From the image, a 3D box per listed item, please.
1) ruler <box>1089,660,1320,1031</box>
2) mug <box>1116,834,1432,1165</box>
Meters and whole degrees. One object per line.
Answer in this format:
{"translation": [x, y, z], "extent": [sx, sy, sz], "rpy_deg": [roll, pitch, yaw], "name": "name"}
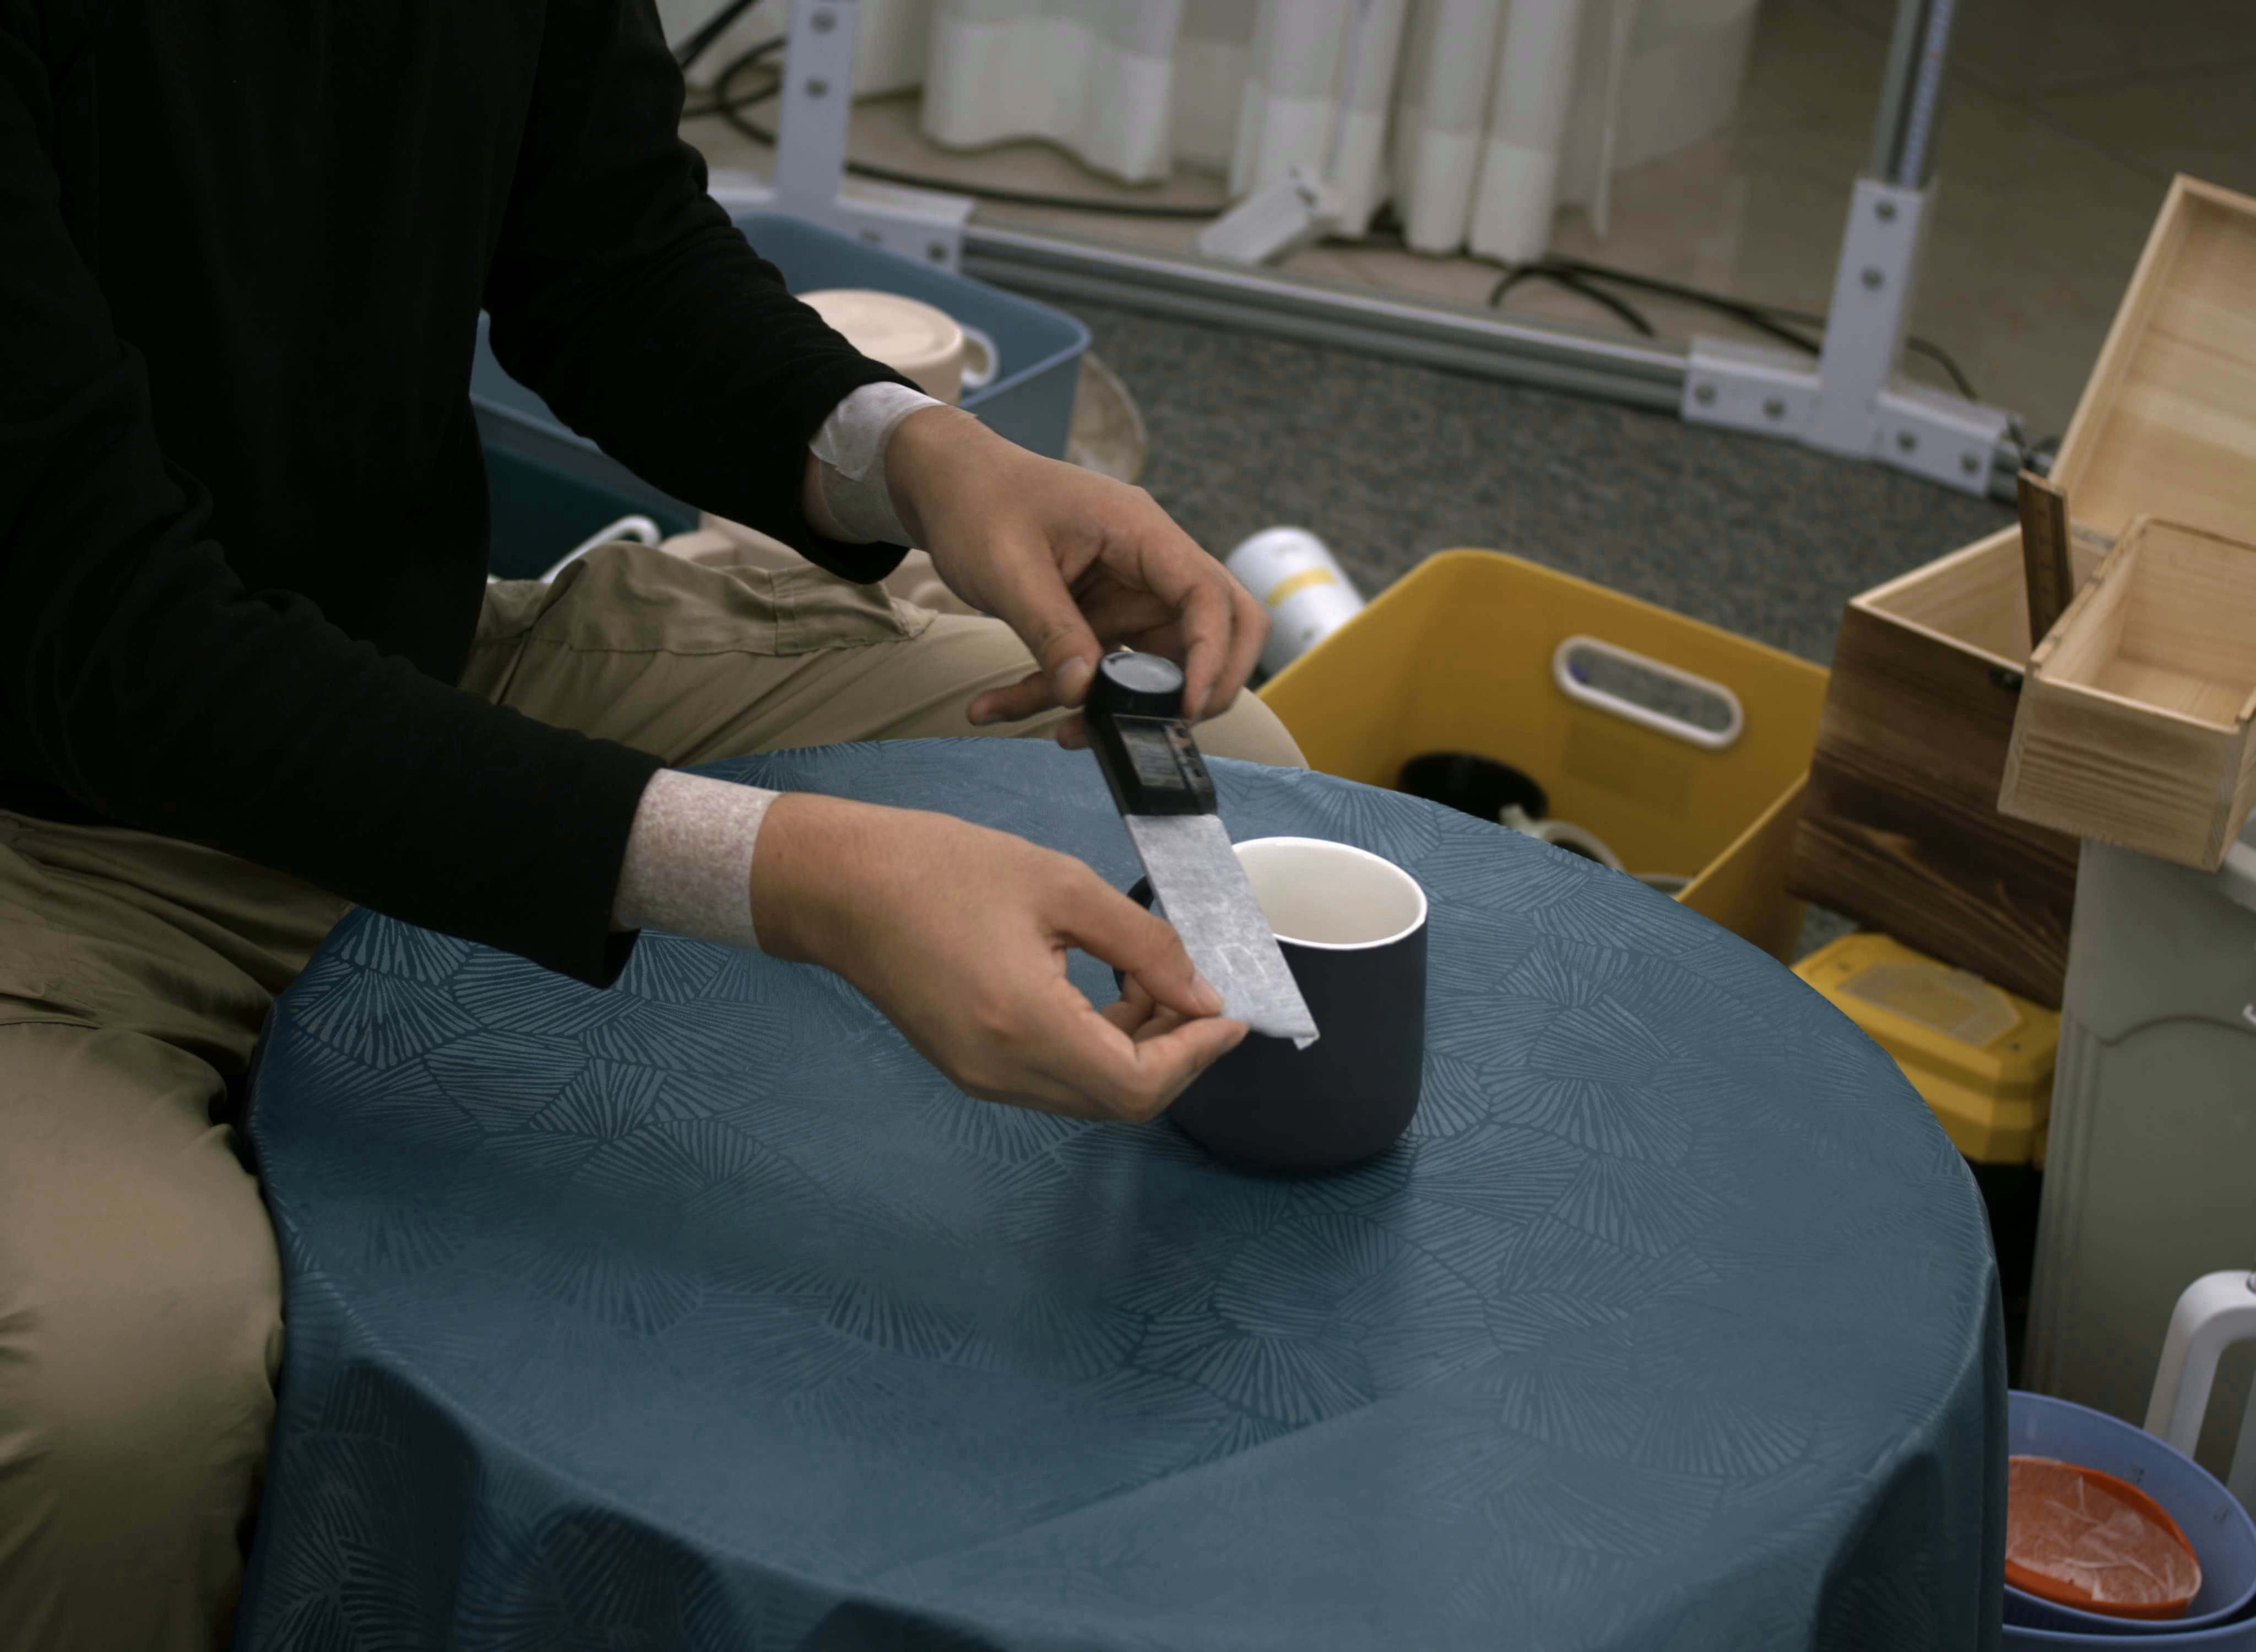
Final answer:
{"translation": [0.023, 0.004, 1.792], "extent": [0.038, 0.024, 0.220], "rpy_deg": [-1, 29, -12], "name": "ruler"}
{"translation": [0.047, 0.055, 1.845], "extent": [0.124, 0.089, 0.093], "rpy_deg": [26, 32, 31], "name": "mug"}
